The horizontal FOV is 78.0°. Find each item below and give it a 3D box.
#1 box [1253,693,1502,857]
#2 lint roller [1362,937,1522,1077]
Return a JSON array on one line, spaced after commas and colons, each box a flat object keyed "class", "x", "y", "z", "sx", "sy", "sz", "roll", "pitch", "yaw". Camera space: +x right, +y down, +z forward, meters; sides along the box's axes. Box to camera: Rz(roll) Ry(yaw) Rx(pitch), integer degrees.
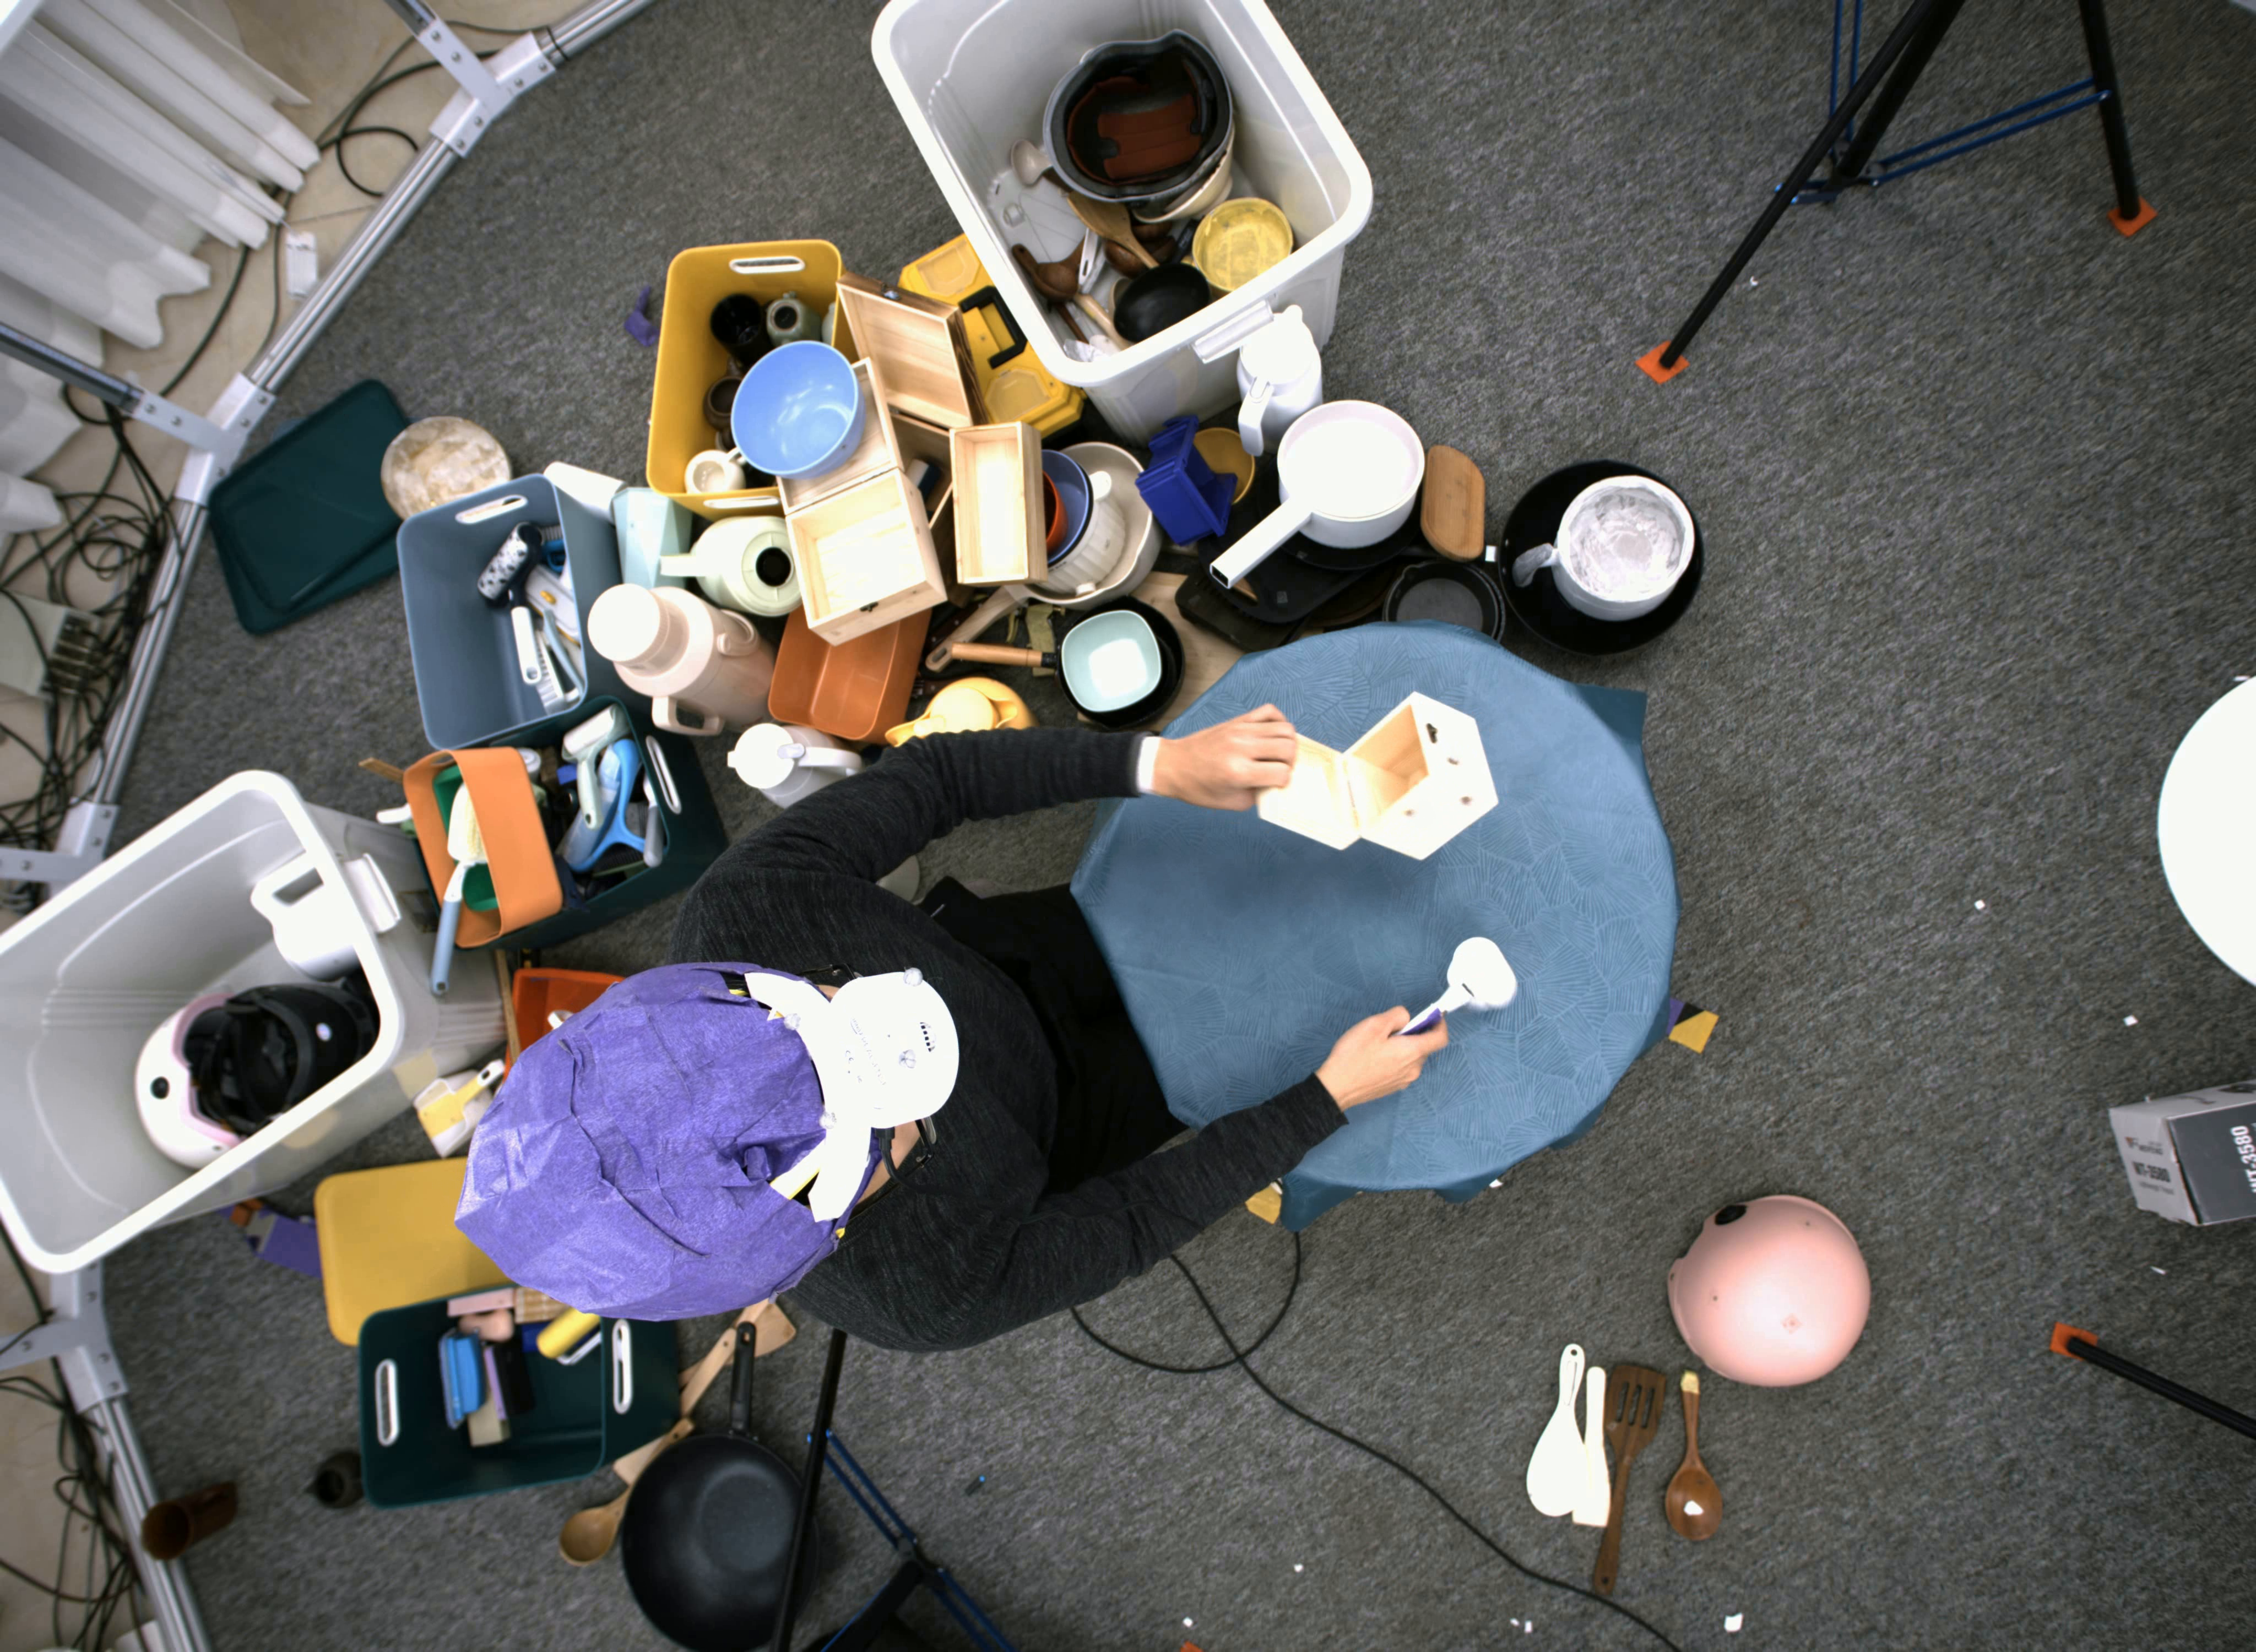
[{"class": "box", "x": 0.227, "y": -0.057, "z": 1.264, "sx": 0.137, "sy": 0.185, "sz": 0.100, "roll": -43, "pitch": 41, "yaw": 41}, {"class": "lint roller", "x": 0.310, "y": 0.193, "z": 1.371, "sx": 0.181, "sy": 0.134, "sz": 0.049, "roll": -44, "pitch": 52, "yaw": 0}]
